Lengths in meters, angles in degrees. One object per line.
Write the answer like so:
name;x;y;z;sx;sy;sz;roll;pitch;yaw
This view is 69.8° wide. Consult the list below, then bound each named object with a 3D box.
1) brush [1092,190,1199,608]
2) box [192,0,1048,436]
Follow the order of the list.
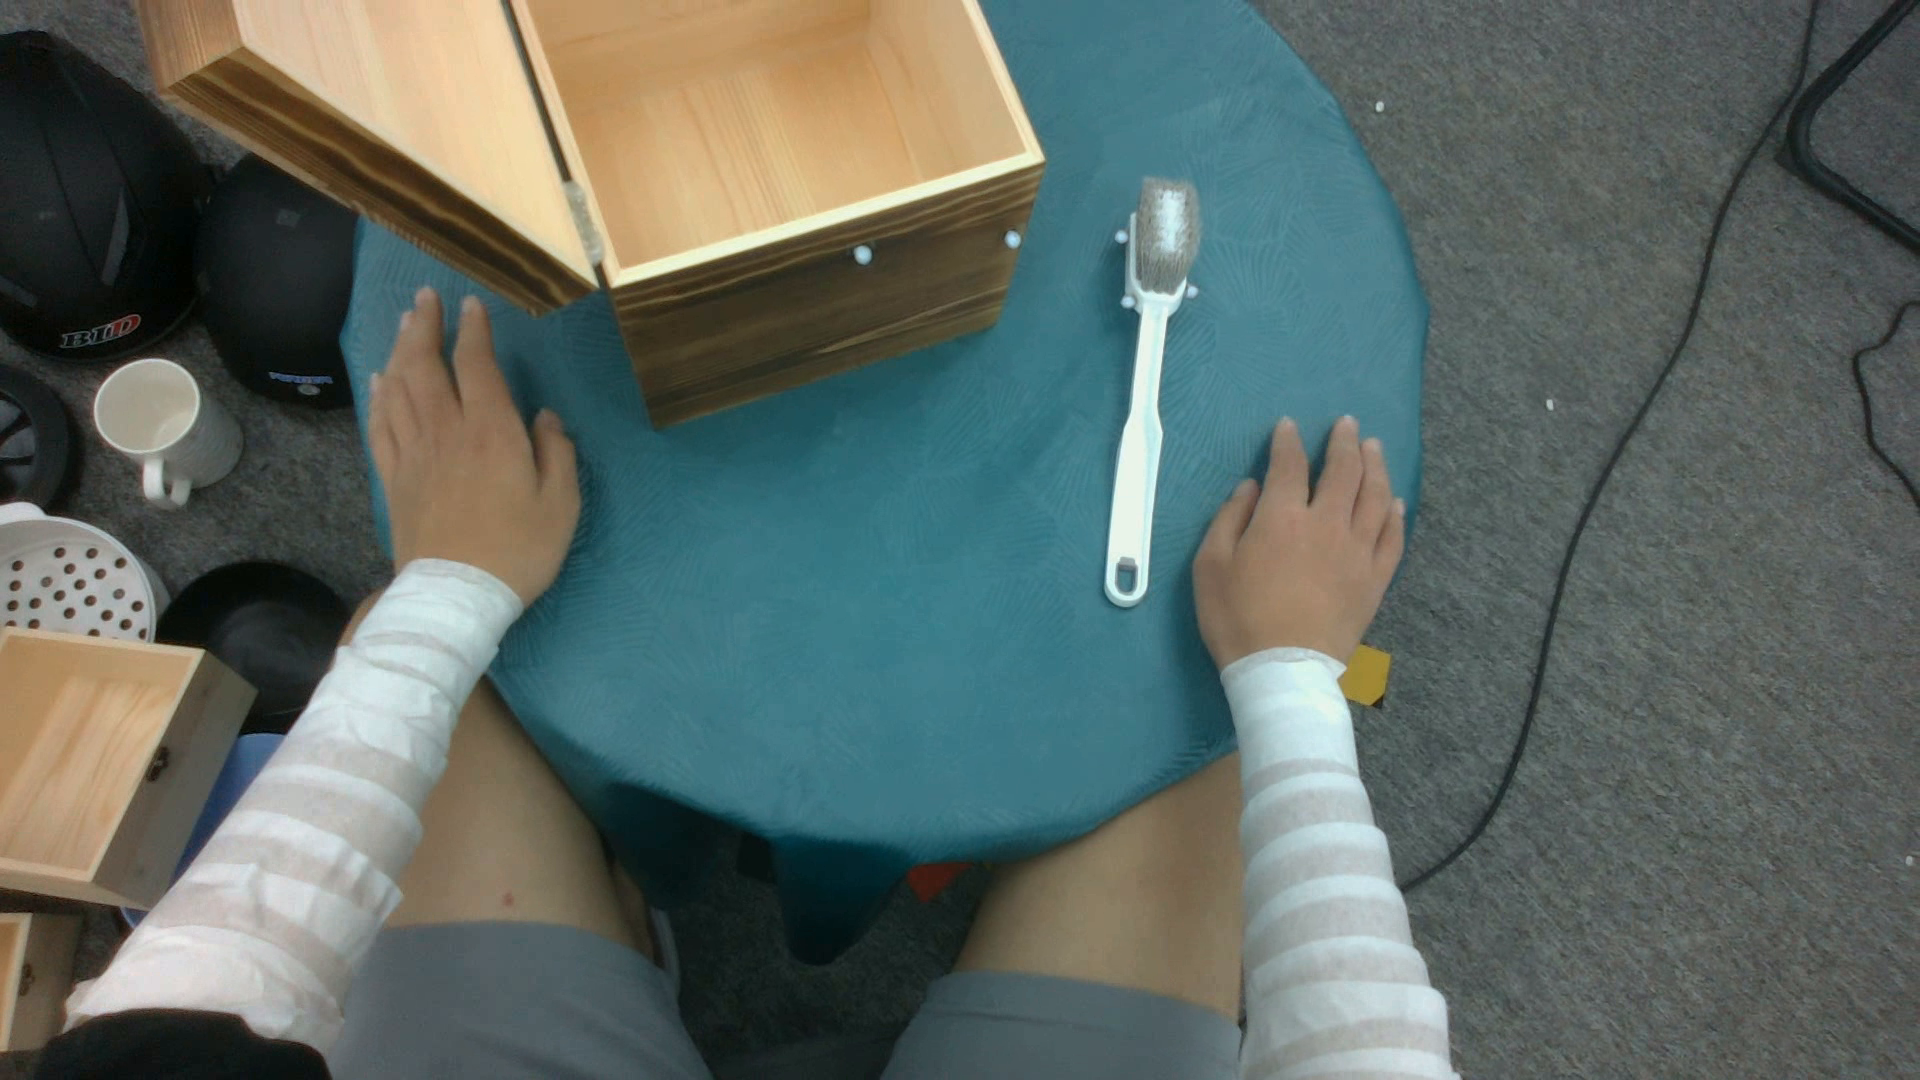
brush;0.103;-0.084;0.764;0.034;0.050;0.244;11;72;-6
box;-0.135;-0.208;0.613;0.322;0.374;0.209;-20;77;-12
